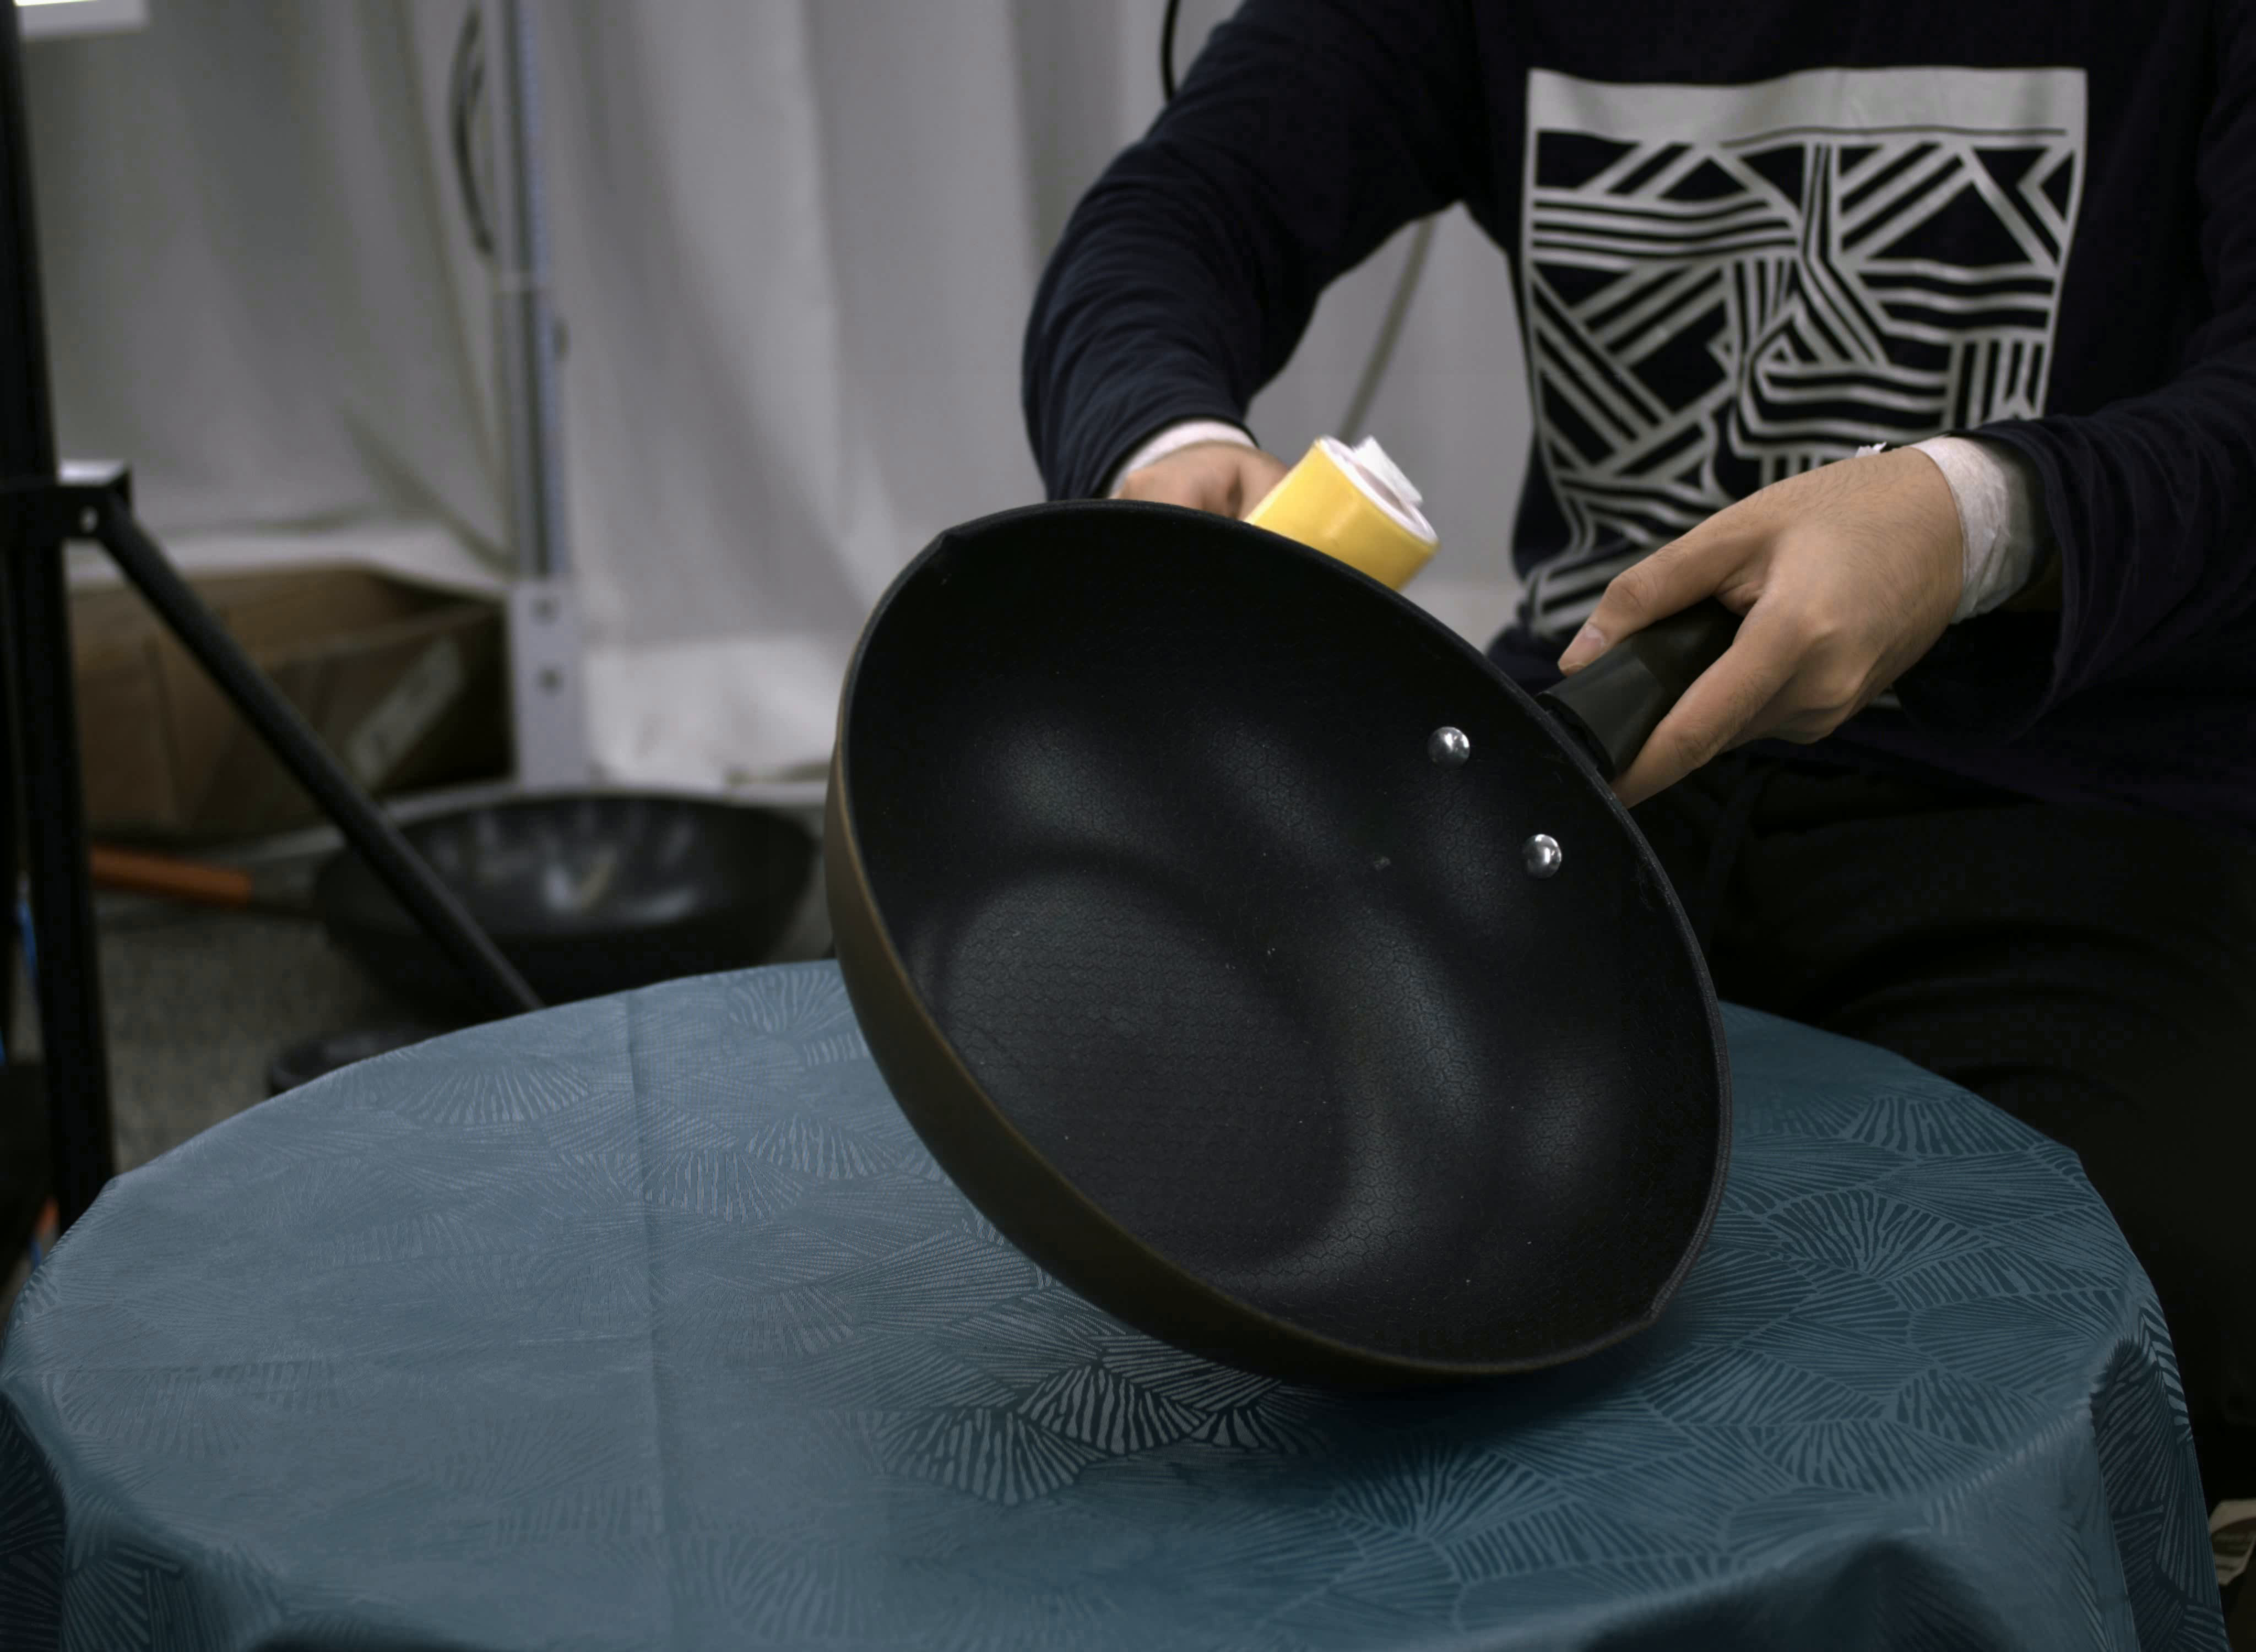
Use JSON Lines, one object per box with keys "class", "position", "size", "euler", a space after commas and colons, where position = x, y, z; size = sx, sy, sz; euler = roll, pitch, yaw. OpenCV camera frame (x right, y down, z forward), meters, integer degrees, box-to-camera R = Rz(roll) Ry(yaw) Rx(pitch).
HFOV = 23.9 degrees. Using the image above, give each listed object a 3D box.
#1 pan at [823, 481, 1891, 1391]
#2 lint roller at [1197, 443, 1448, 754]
{"class": "pan", "position": [0.078, 0.011, 1.510], "size": [0.455, 0.290, 0.088], "euler": [-31, -13, -47]}
{"class": "lint roller", "position": [0.016, -0.062, 1.631], "size": [0.050, 0.175, 0.194], "euler": [39, 12, -18]}
